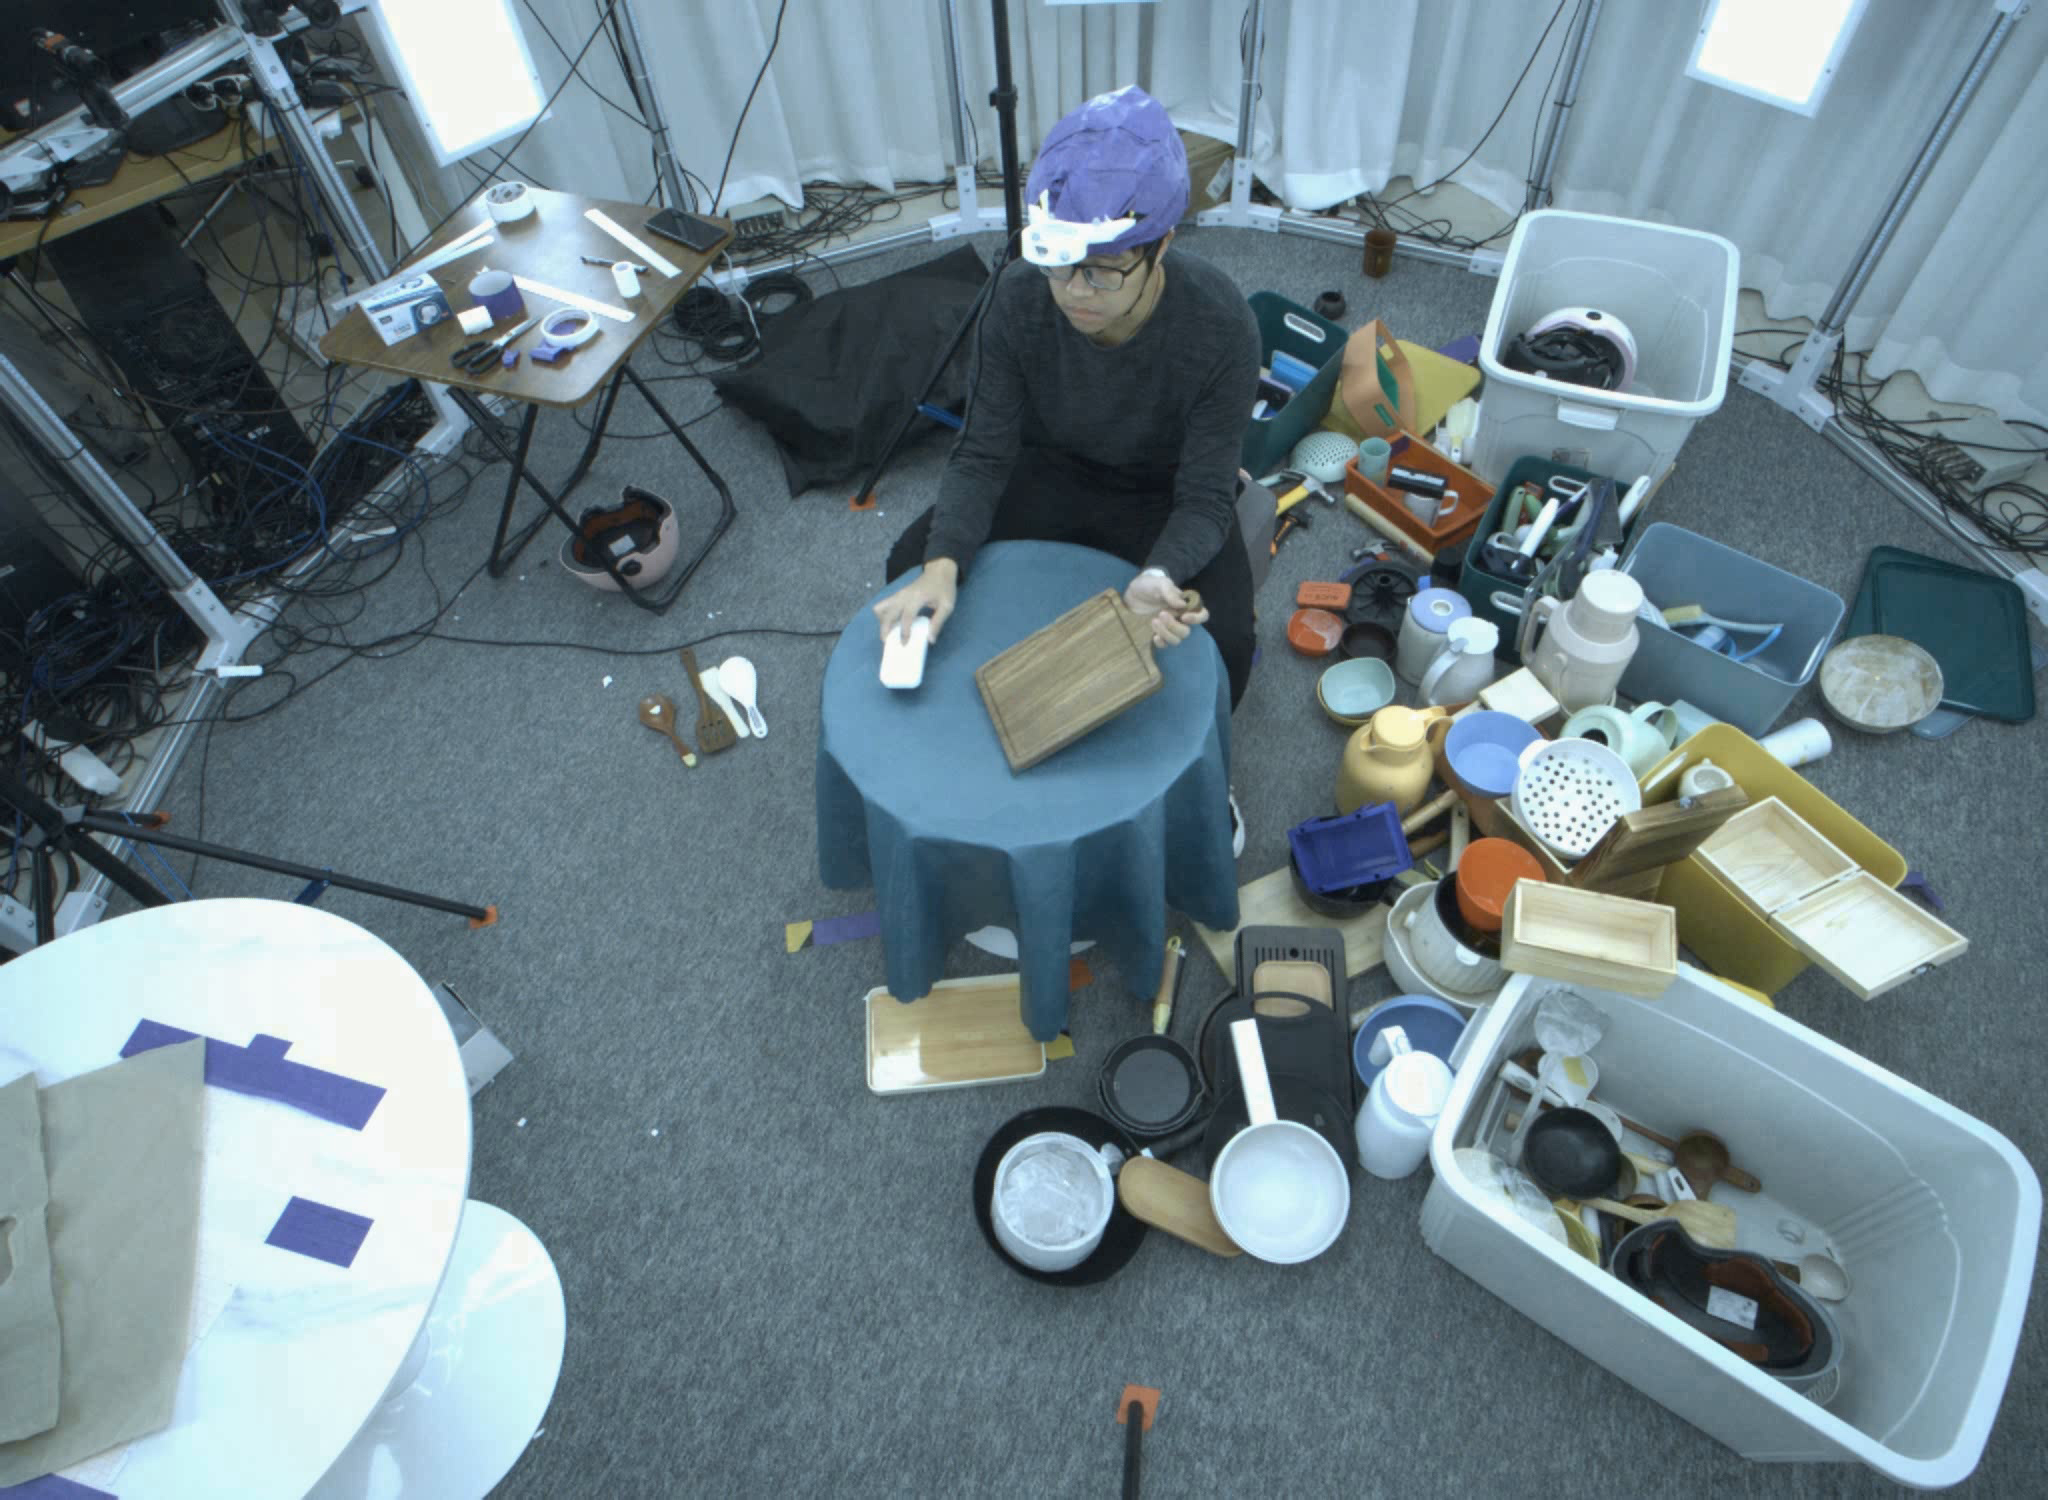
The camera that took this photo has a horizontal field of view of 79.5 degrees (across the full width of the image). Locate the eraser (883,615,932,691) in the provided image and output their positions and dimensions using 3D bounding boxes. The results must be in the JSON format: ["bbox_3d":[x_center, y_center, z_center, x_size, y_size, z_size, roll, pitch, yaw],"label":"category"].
[{"bbox_3d":[-0.174,-0.148,1.855,0.063,0.035,0.130,0,58,10],"label":"eraser"}]

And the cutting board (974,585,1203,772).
[{"bbox_3d":[0.103,-0.131,1.778,0.350,0.024,0.197,-31,56,10],"label":"cutting board"}]
